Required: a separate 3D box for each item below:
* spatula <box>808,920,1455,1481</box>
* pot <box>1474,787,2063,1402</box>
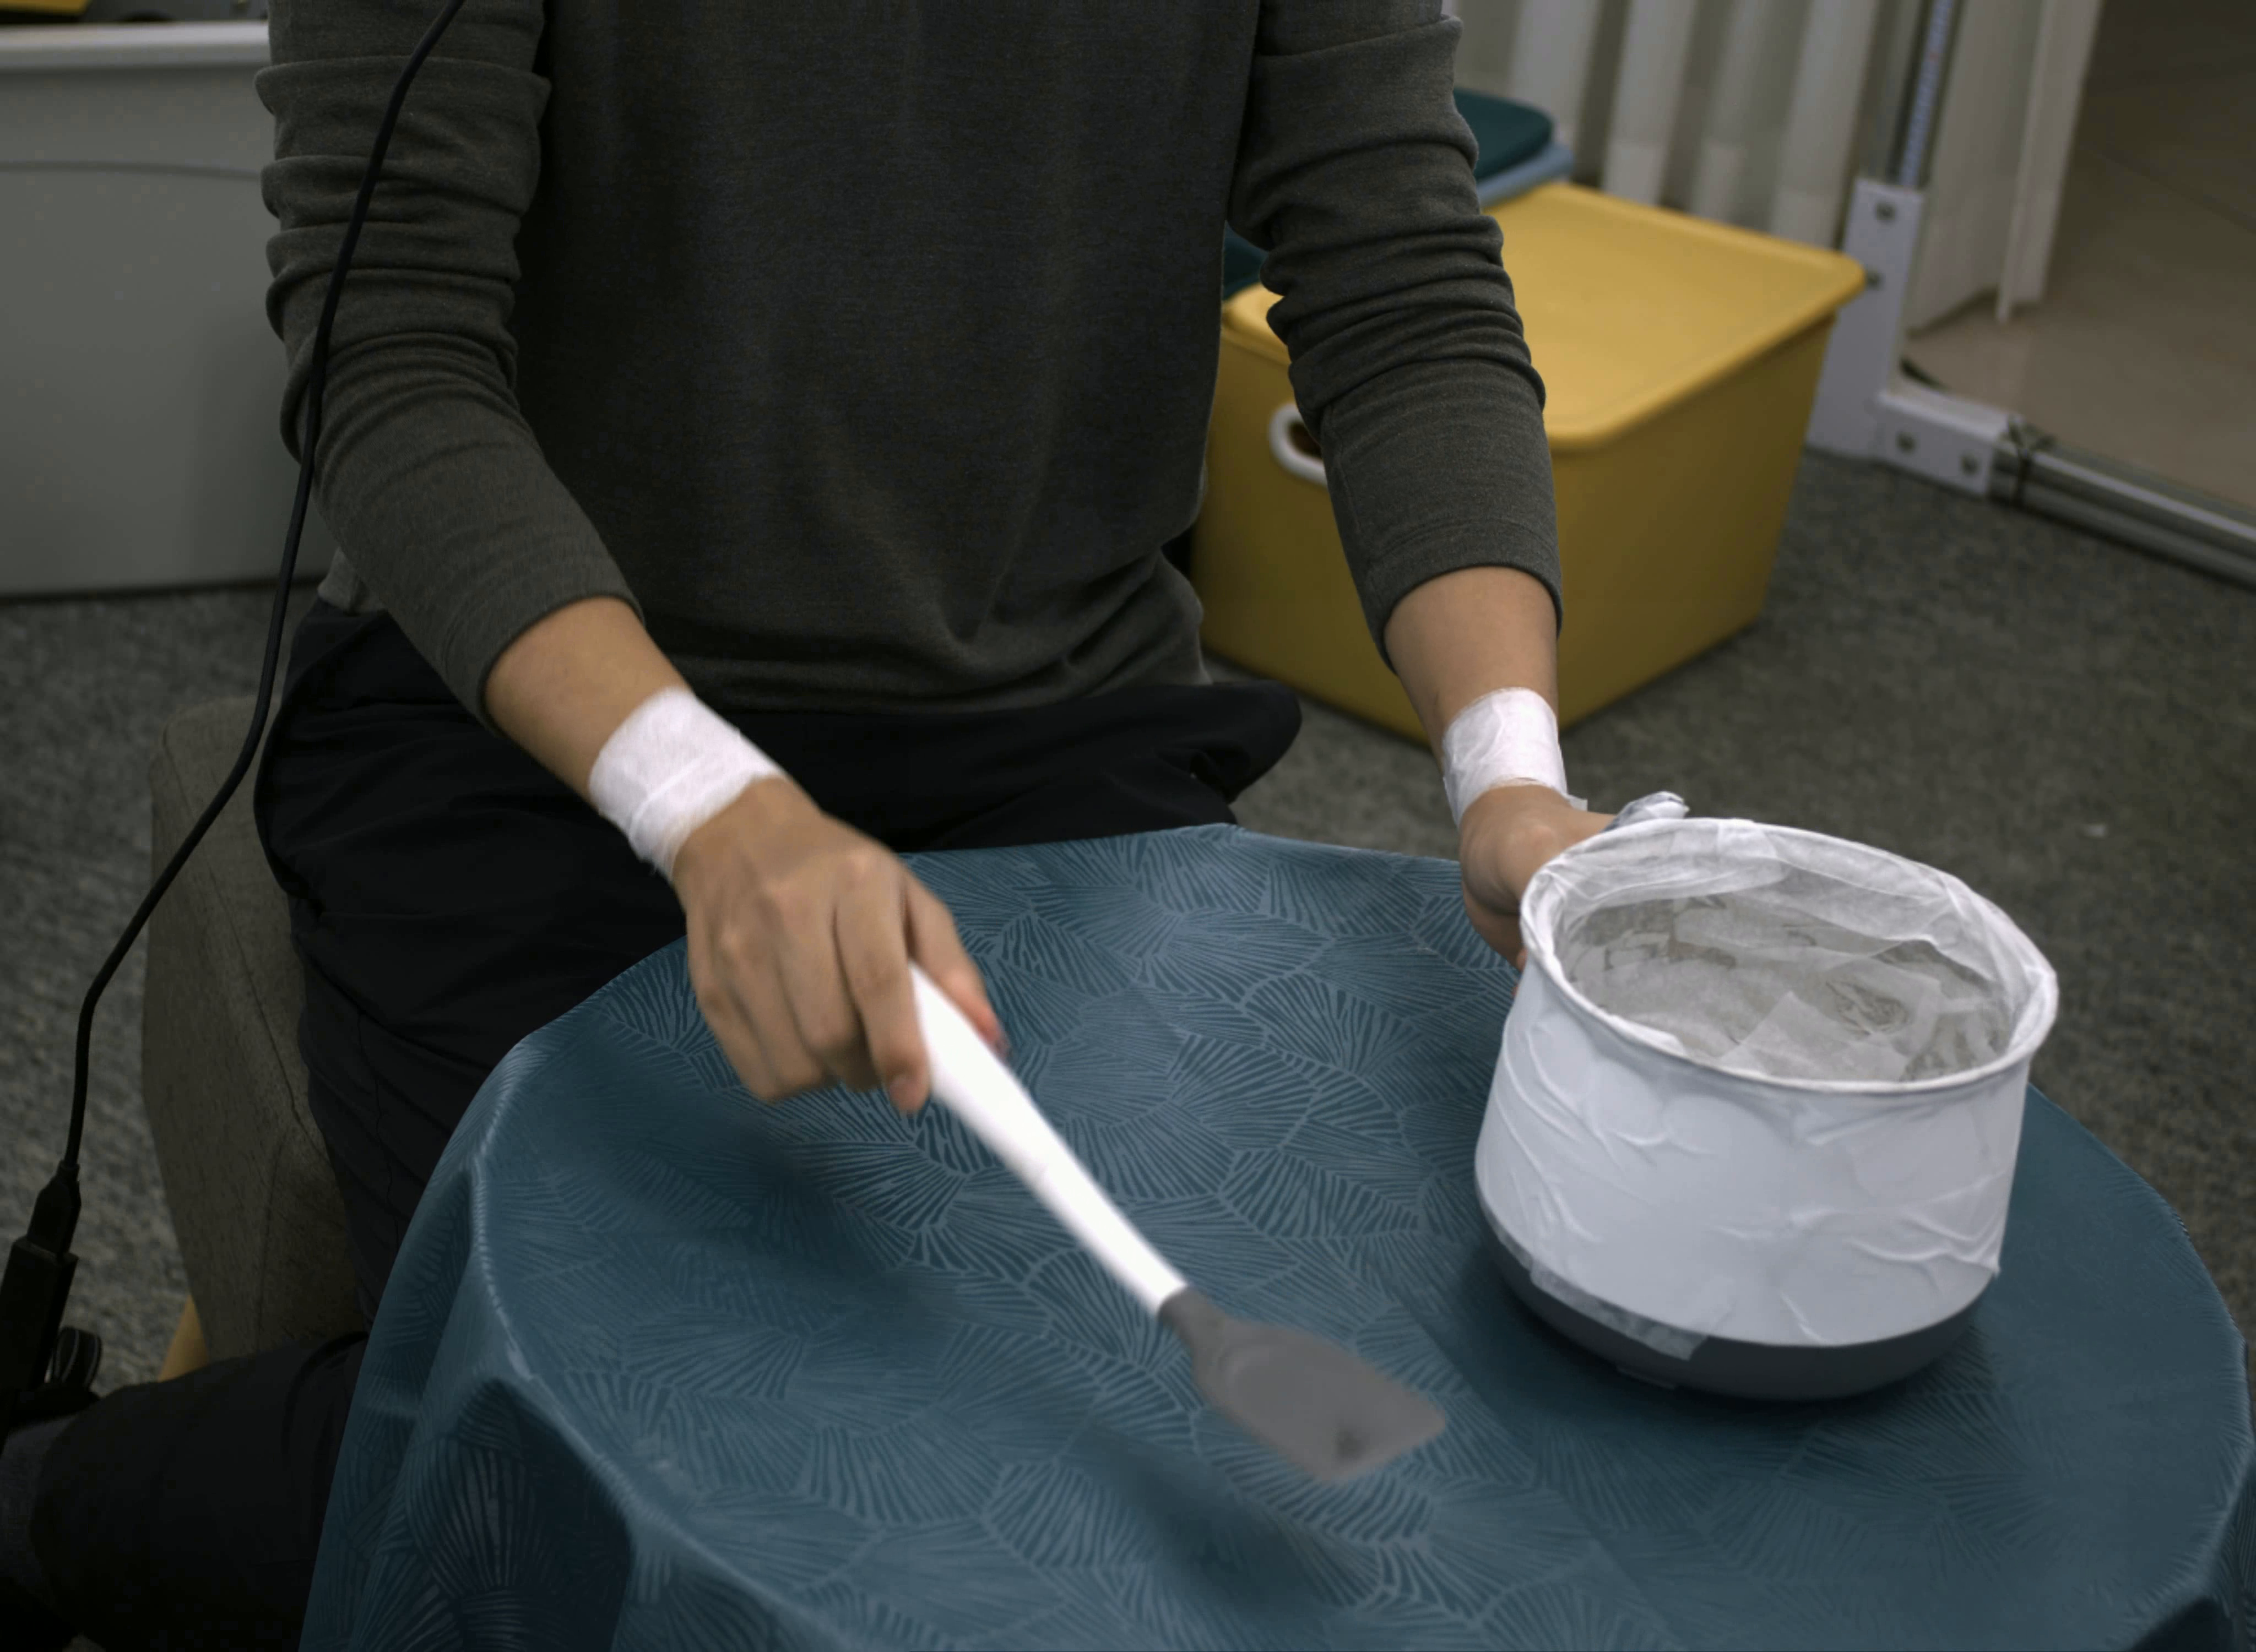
[{"bbox_3d":[-0.006,0.118,1.671,0.058,0.032,0.290,-19,43,-34],"label":"spatula"},{"bbox_3d":[0.198,0.082,1.777,0.177,0.136,0.236,-3,29,-21],"label":"pot"}]
